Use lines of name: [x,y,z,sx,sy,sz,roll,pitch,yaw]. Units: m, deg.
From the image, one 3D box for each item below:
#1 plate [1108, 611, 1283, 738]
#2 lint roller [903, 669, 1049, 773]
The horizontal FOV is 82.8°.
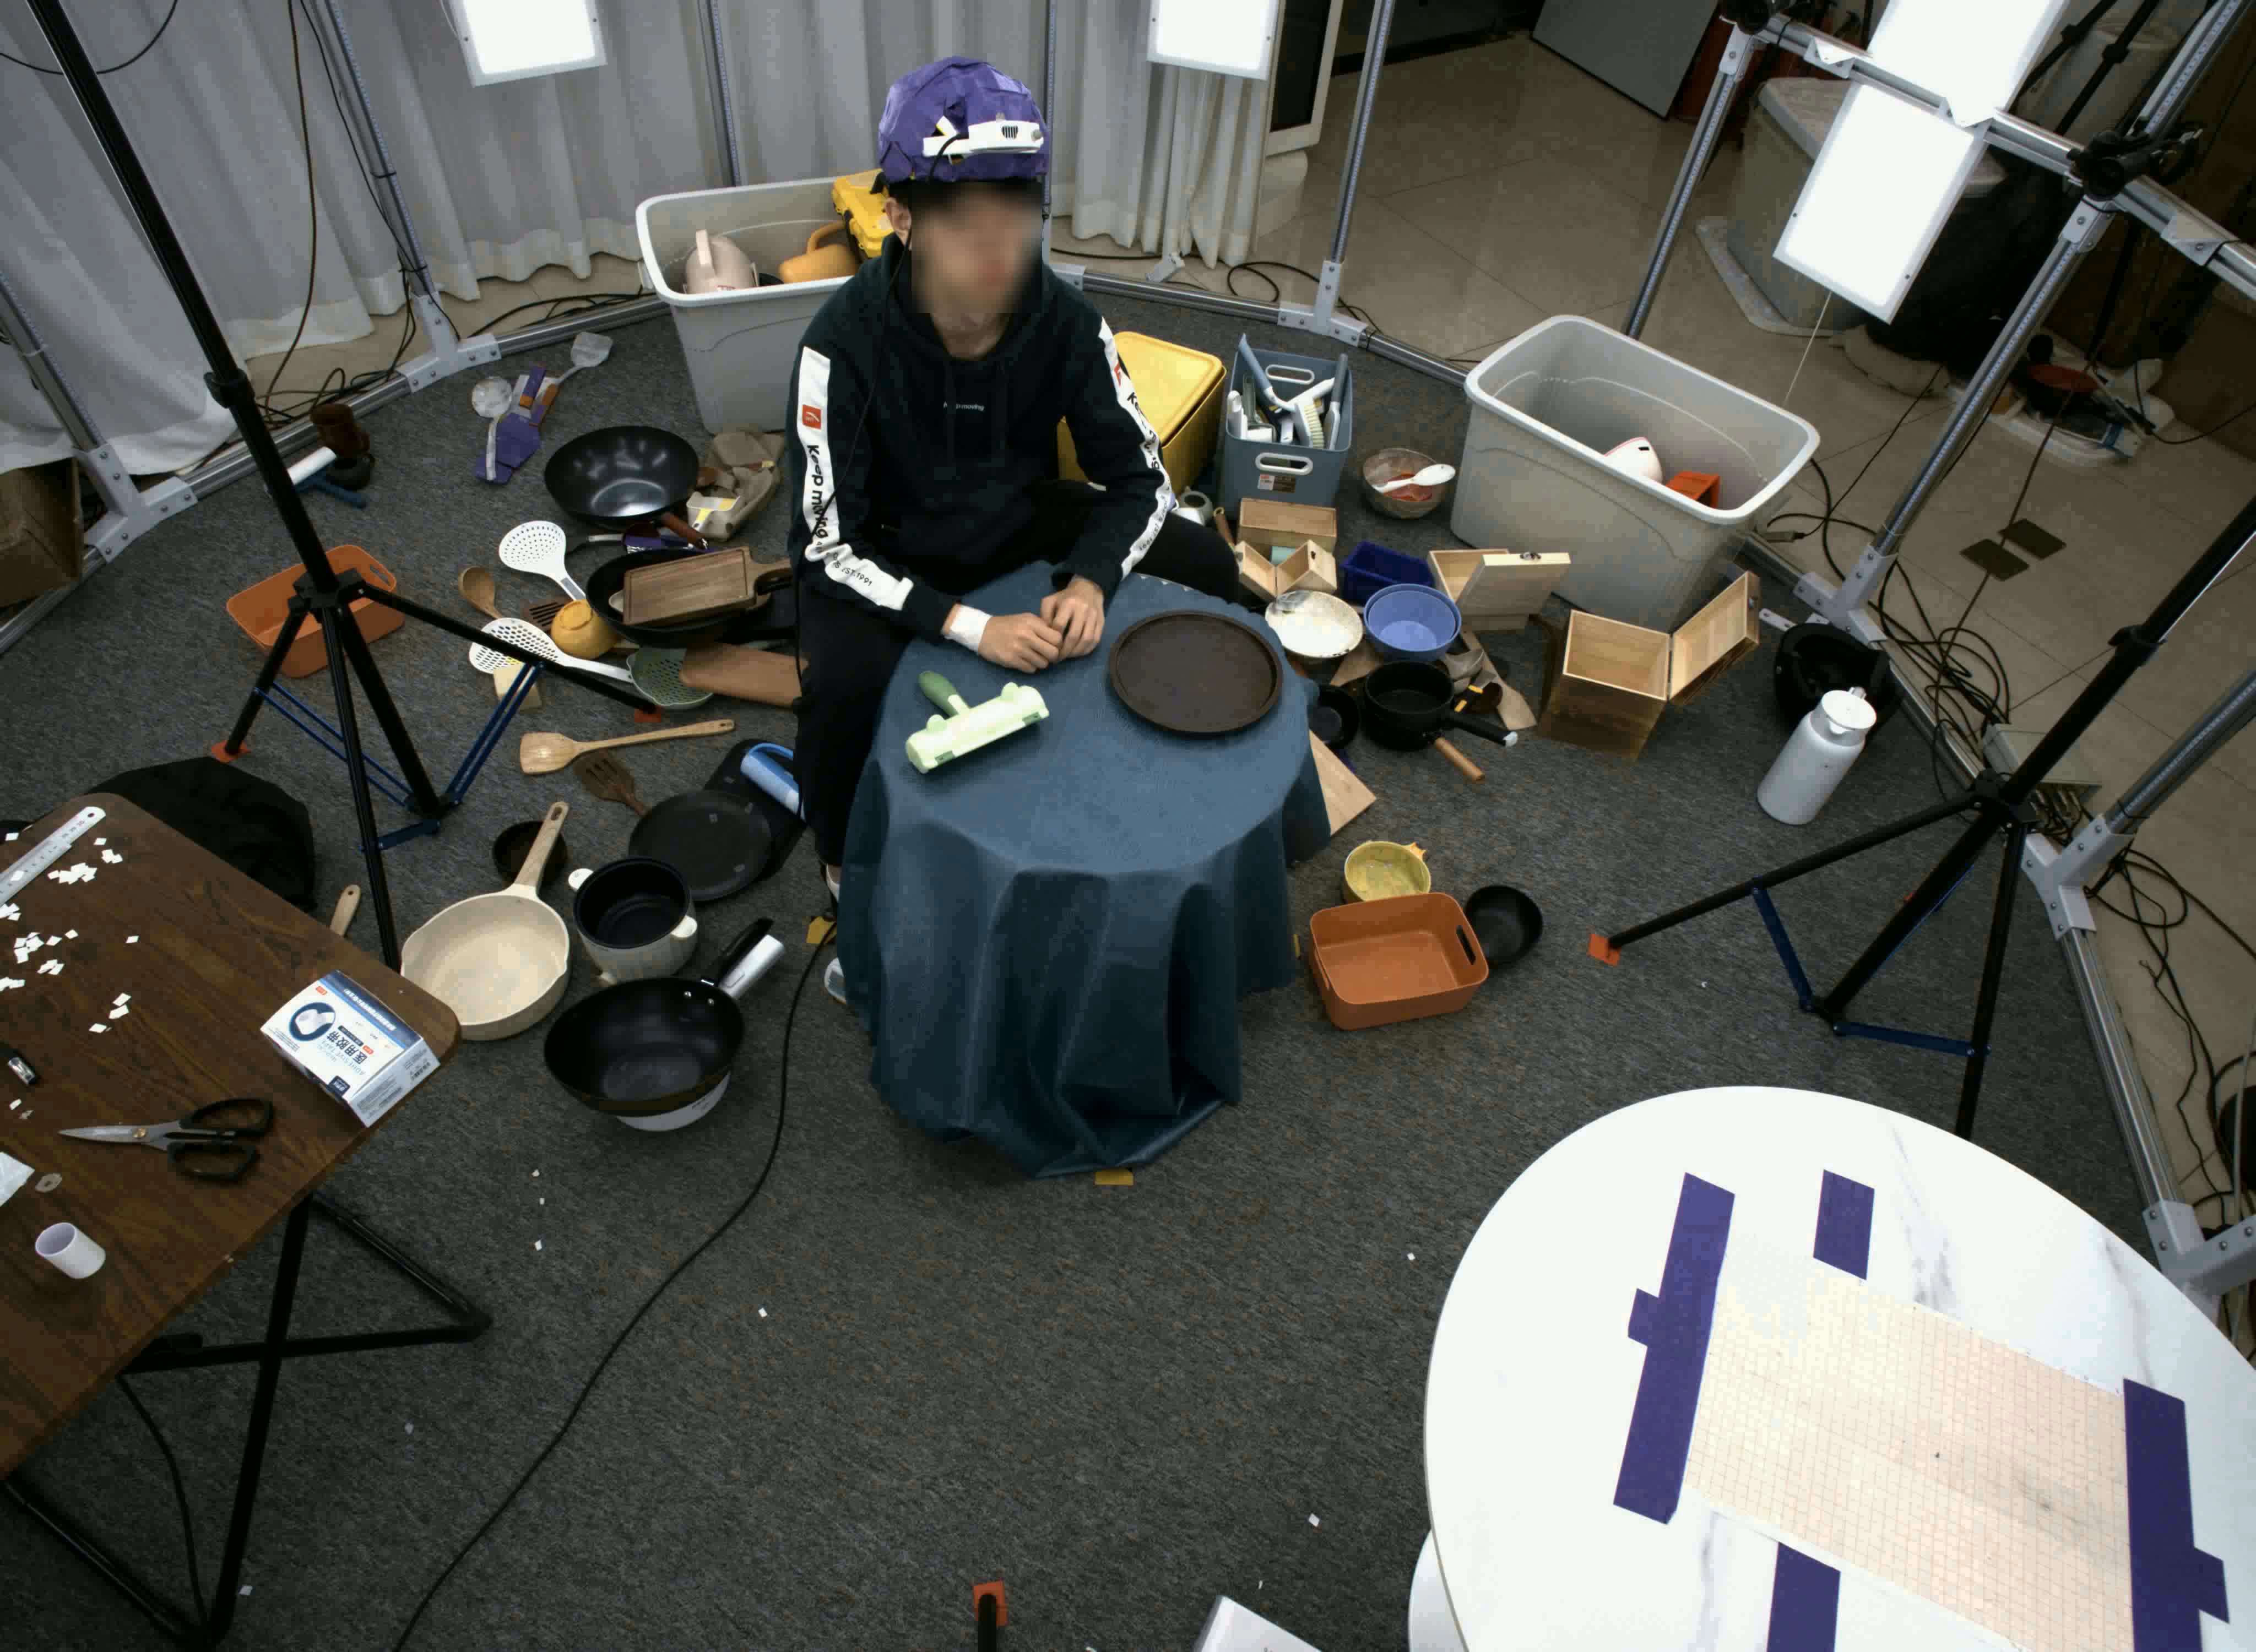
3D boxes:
plate: [0.097,-0.220,1.849,0.254,0.028,0.261,1,49,-1]
lint roller: [-0.235,-0.173,1.752,0.199,0.080,0.187,-27,59,-24]
